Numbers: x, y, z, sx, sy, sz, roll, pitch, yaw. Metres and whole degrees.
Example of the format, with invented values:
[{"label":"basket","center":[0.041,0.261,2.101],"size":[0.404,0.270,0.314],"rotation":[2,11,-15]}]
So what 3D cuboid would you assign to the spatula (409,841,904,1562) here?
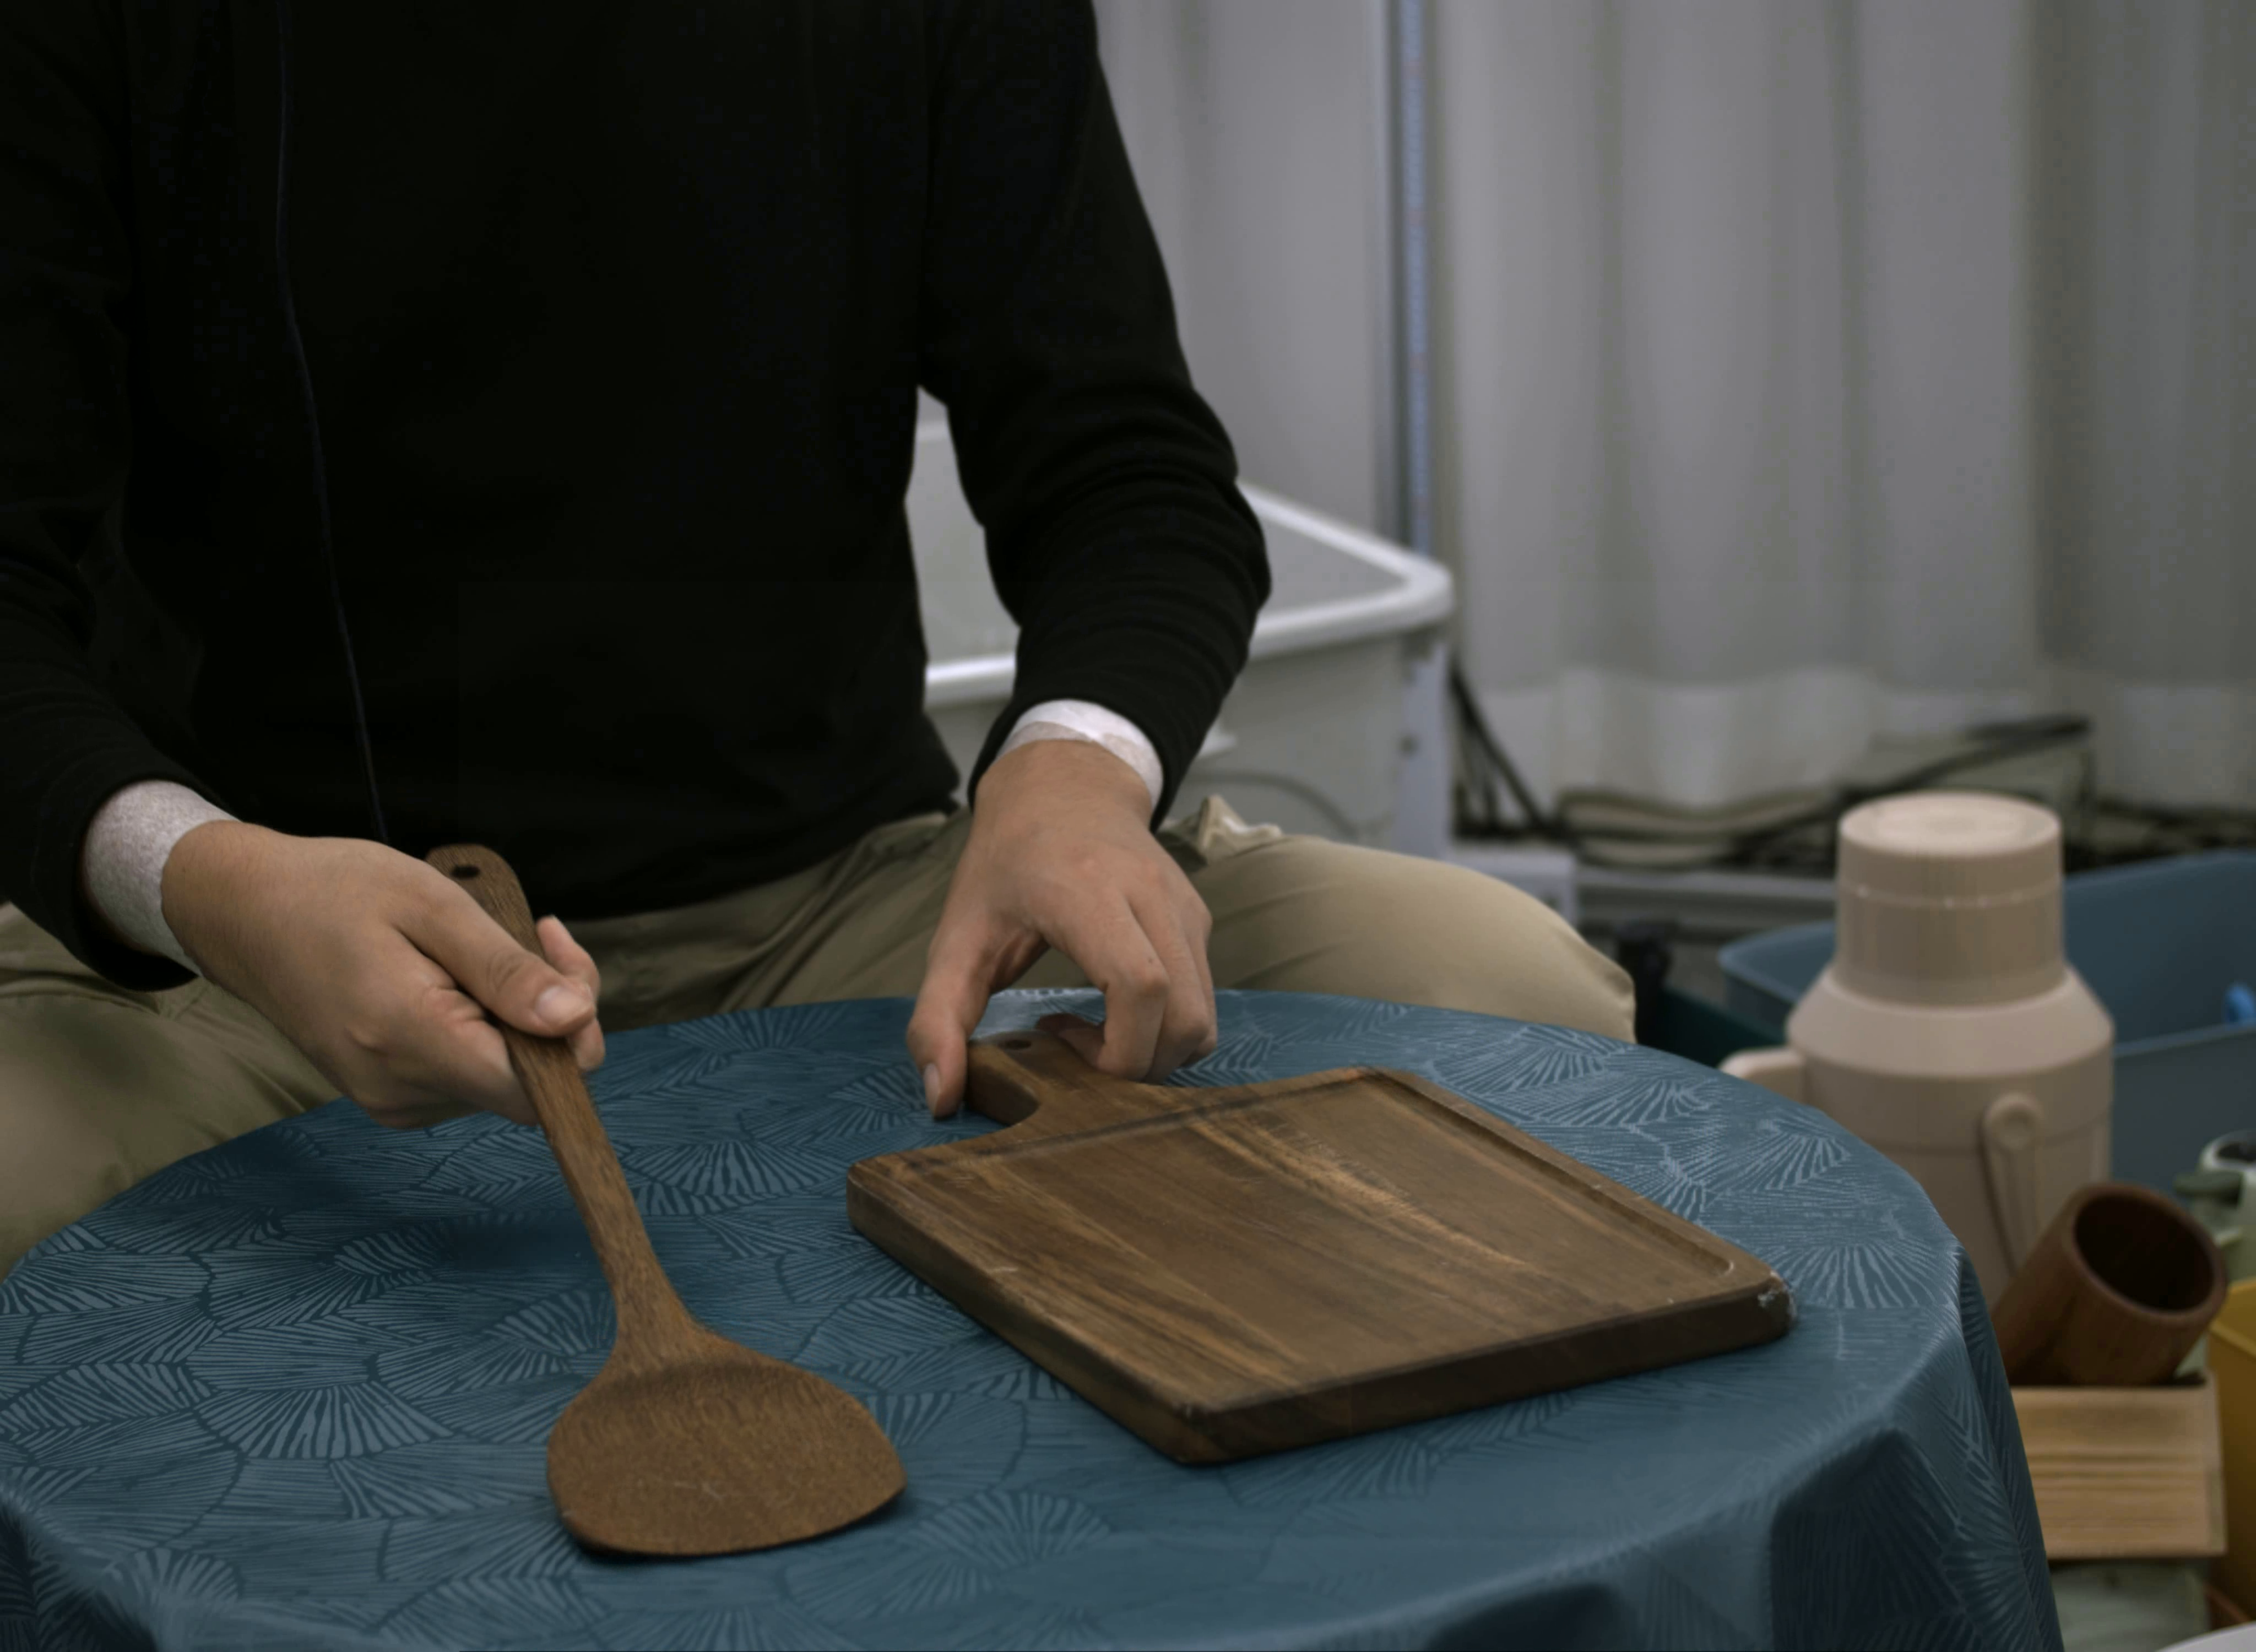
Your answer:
[{"label":"spatula","center":[-0.159,0.098,1.603],"size":[0.095,0.015,0.391],"rotation":[-8,32,-16]}]

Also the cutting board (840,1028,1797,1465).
[{"label":"cutting board","center":[0.030,0.114,1.669],"size":[0.200,0.023,0.355],"rotation":[-9,16,-24]}]
